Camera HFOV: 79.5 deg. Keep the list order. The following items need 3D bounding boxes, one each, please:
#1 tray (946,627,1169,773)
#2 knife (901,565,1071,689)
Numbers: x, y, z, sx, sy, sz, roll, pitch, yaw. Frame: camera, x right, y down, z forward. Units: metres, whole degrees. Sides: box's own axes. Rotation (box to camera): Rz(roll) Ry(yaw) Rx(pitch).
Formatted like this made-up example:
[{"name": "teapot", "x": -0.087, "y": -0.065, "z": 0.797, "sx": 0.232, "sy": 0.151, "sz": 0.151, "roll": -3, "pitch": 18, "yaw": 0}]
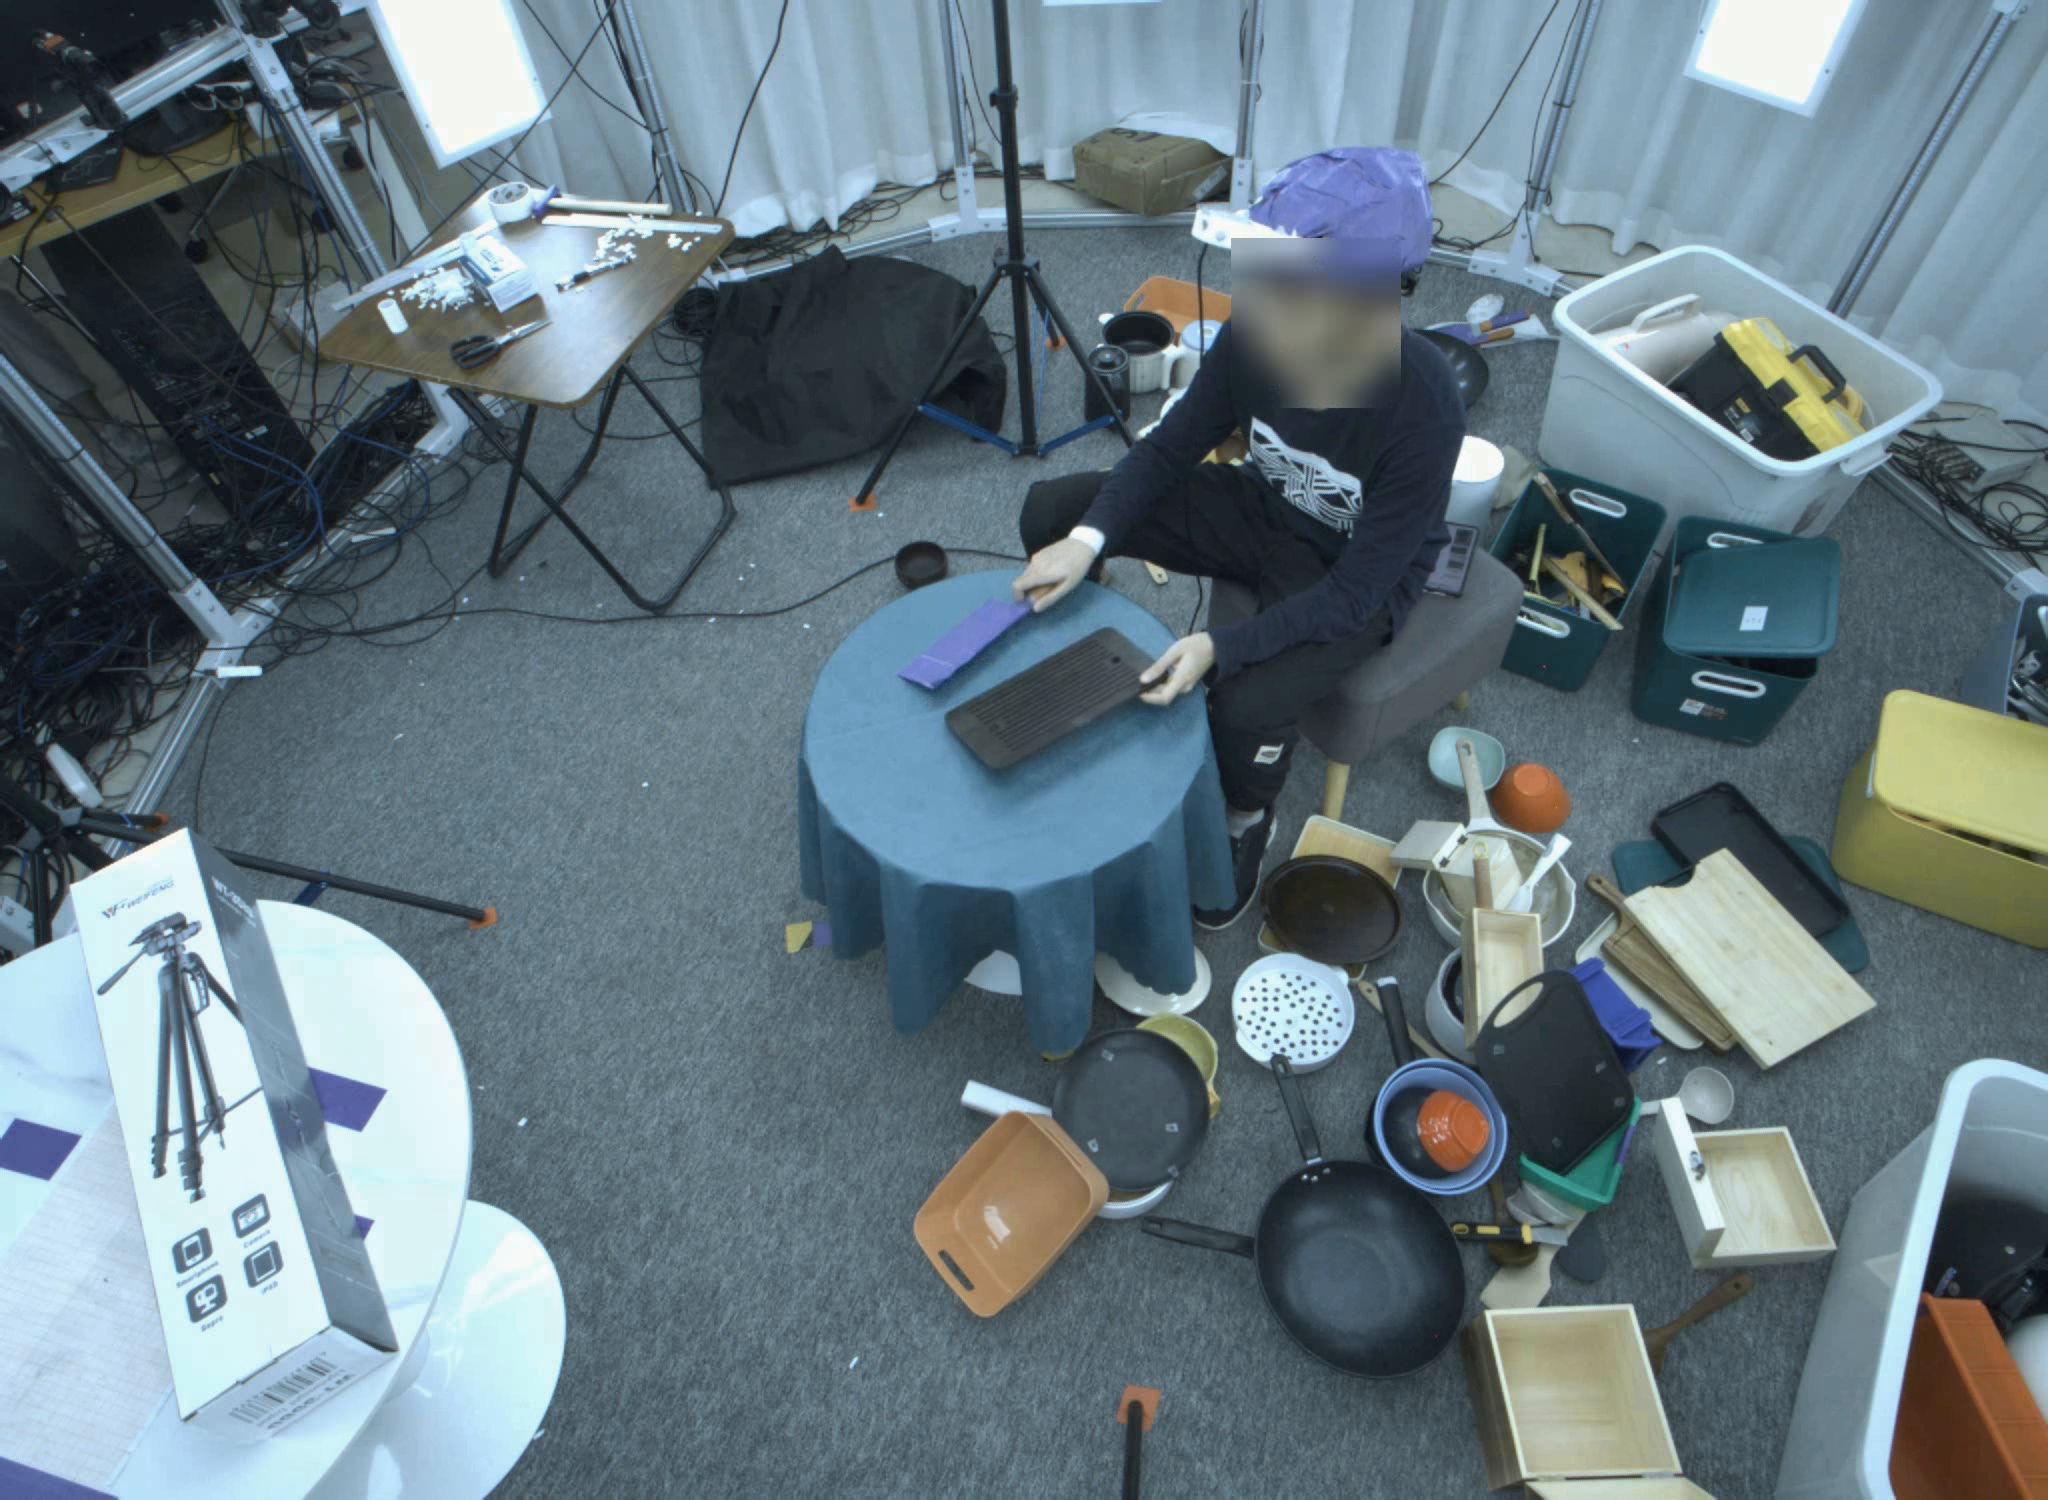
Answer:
[{"name": "tray", "x": 0.049, "y": -0.076, "z": 1.810, "sx": 0.308, "sy": 0.019, "sz": 0.166, "roll": -30, "pitch": 43, "yaw": -18}, {"name": "knife", "x": -0.061, "y": -0.201, "z": 1.913, "sx": 0.101, "sy": 0.033, "sz": 0.317, "roll": 24, "pitch": 54, "yaw": 40}]
